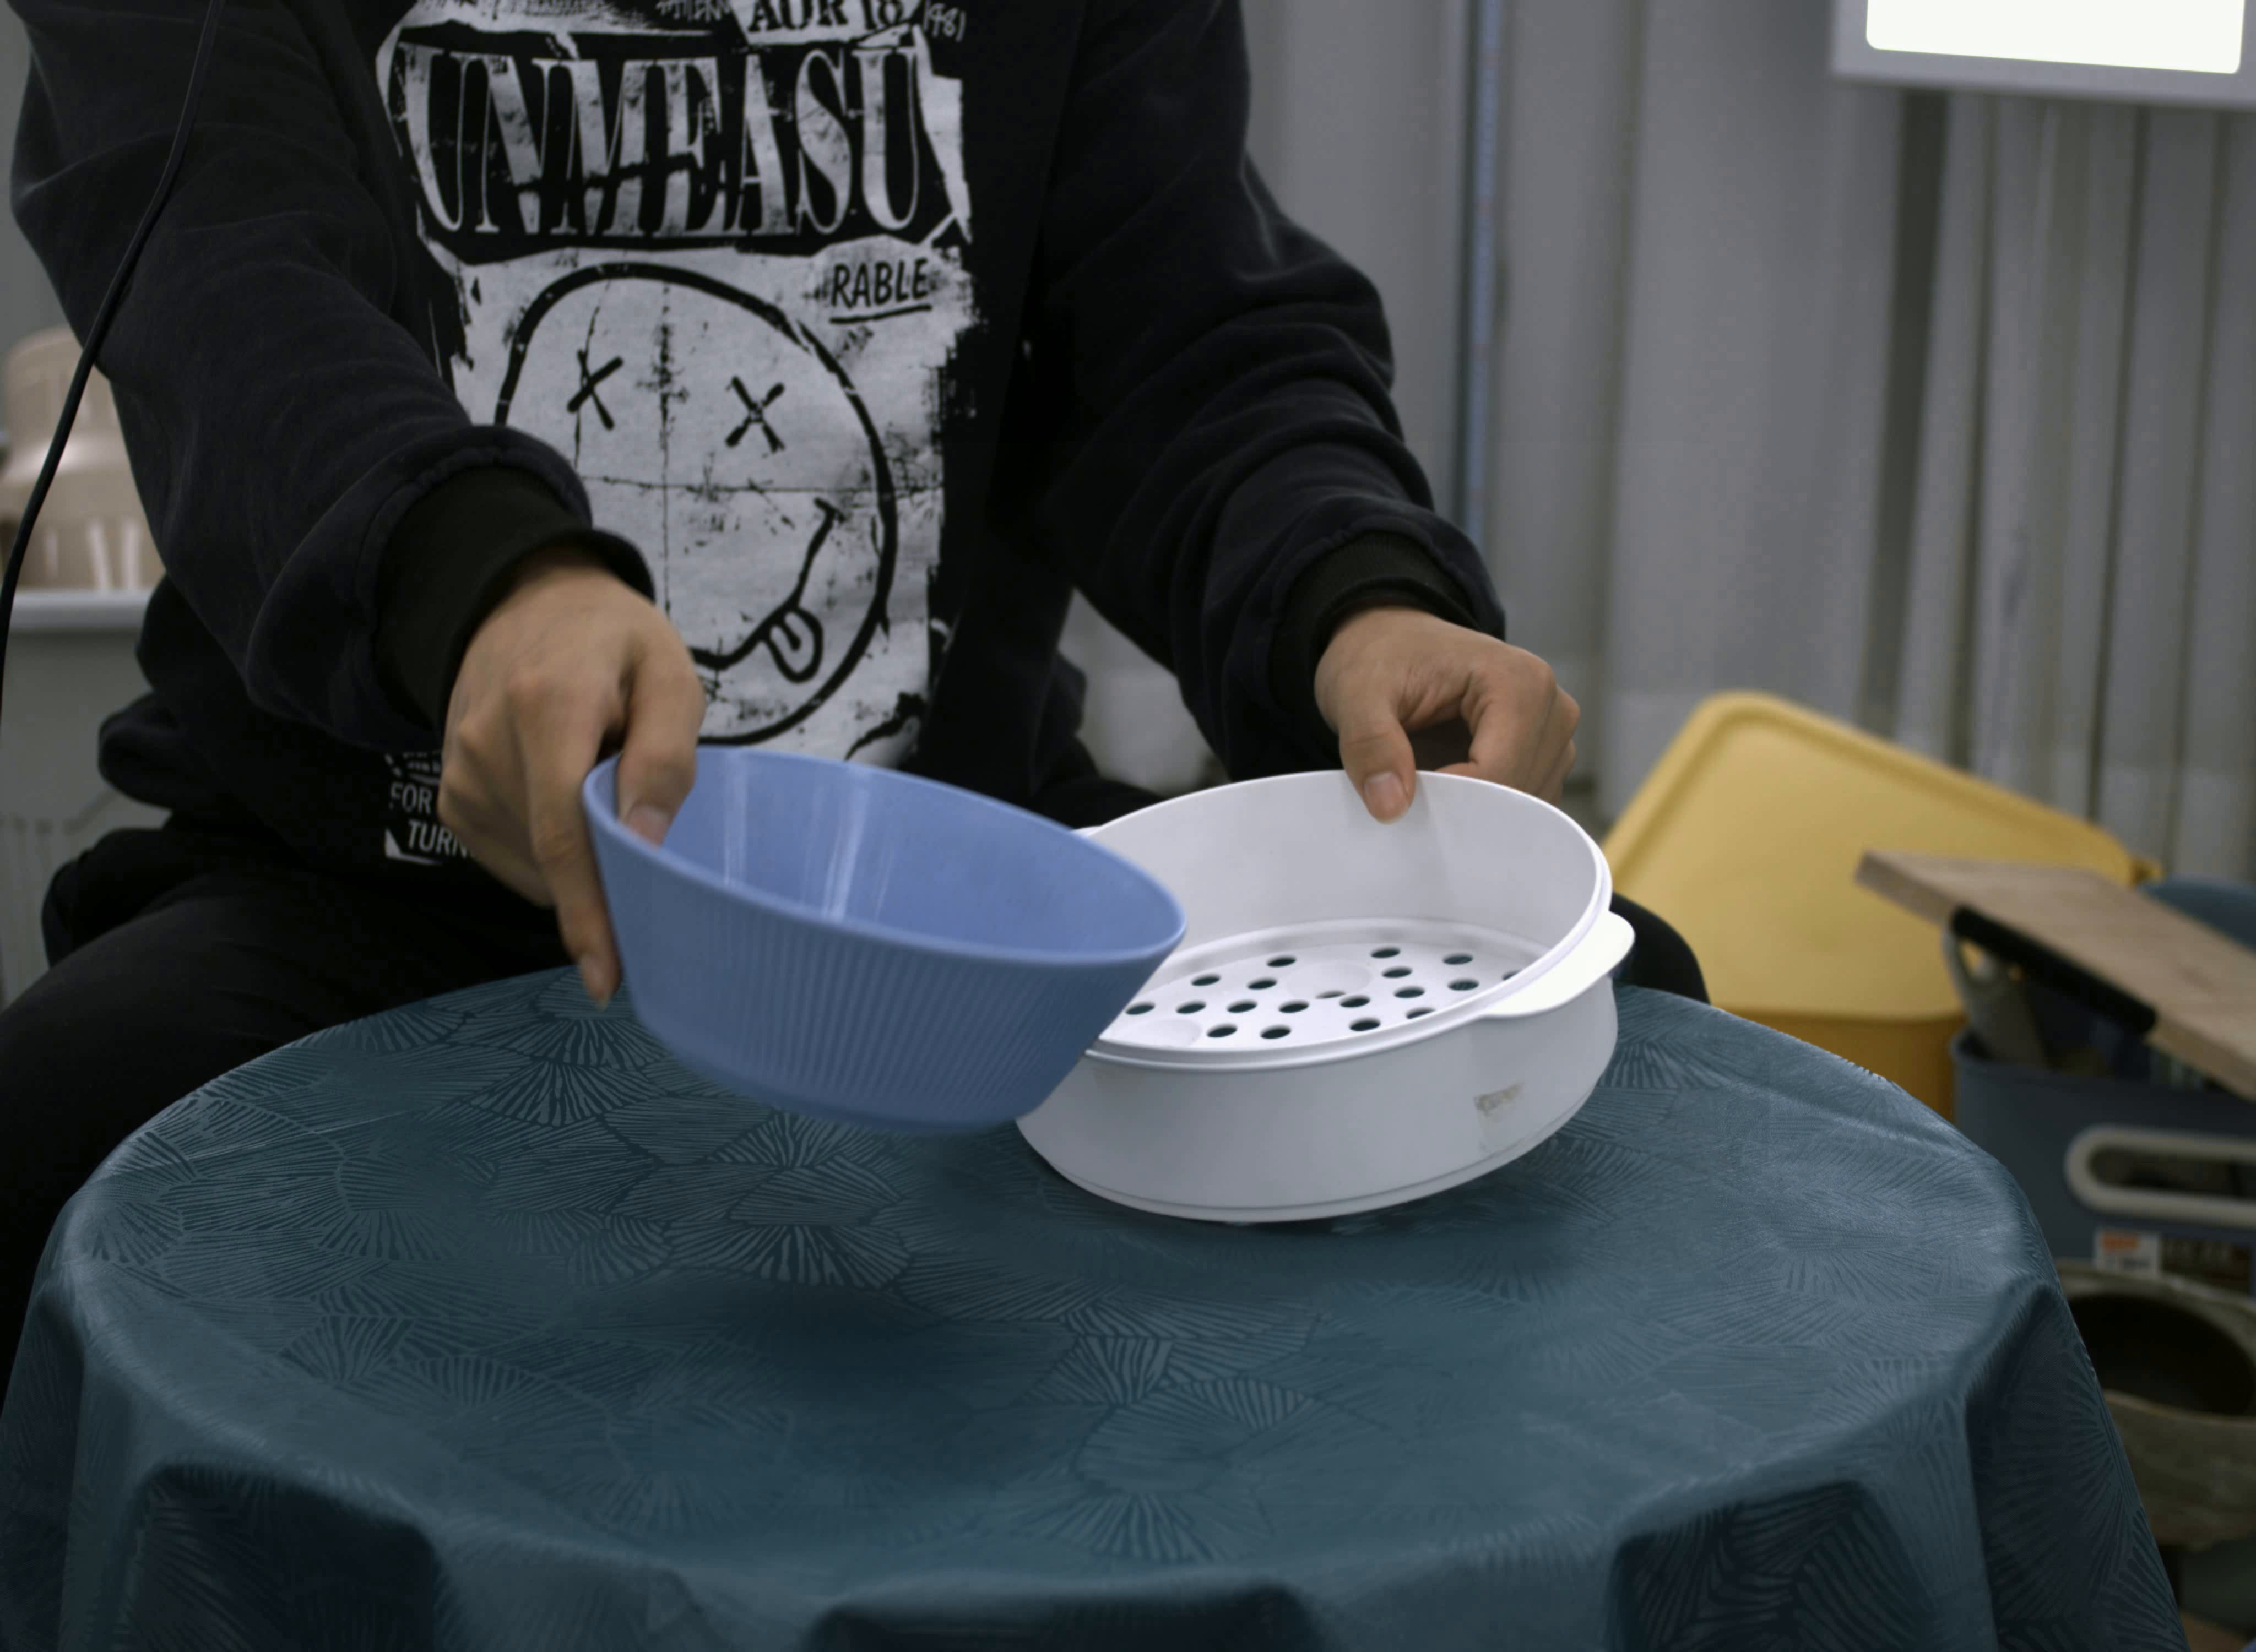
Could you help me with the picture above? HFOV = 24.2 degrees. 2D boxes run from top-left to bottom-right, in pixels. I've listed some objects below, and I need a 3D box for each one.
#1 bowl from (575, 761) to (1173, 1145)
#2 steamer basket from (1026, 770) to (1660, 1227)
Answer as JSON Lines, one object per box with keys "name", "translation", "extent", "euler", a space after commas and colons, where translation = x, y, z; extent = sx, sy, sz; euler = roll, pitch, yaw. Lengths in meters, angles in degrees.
{"name": "bowl", "translation": [-0.079, 0.040, 1.503], "extent": [0.176, 0.071, 0.175], "euler": [14, 14, -3]}
{"name": "steamer basket", "translation": [0.060, 0.054, 1.656], "extent": [0.227, 0.070, 0.202], "euler": [12, 31, 33]}
